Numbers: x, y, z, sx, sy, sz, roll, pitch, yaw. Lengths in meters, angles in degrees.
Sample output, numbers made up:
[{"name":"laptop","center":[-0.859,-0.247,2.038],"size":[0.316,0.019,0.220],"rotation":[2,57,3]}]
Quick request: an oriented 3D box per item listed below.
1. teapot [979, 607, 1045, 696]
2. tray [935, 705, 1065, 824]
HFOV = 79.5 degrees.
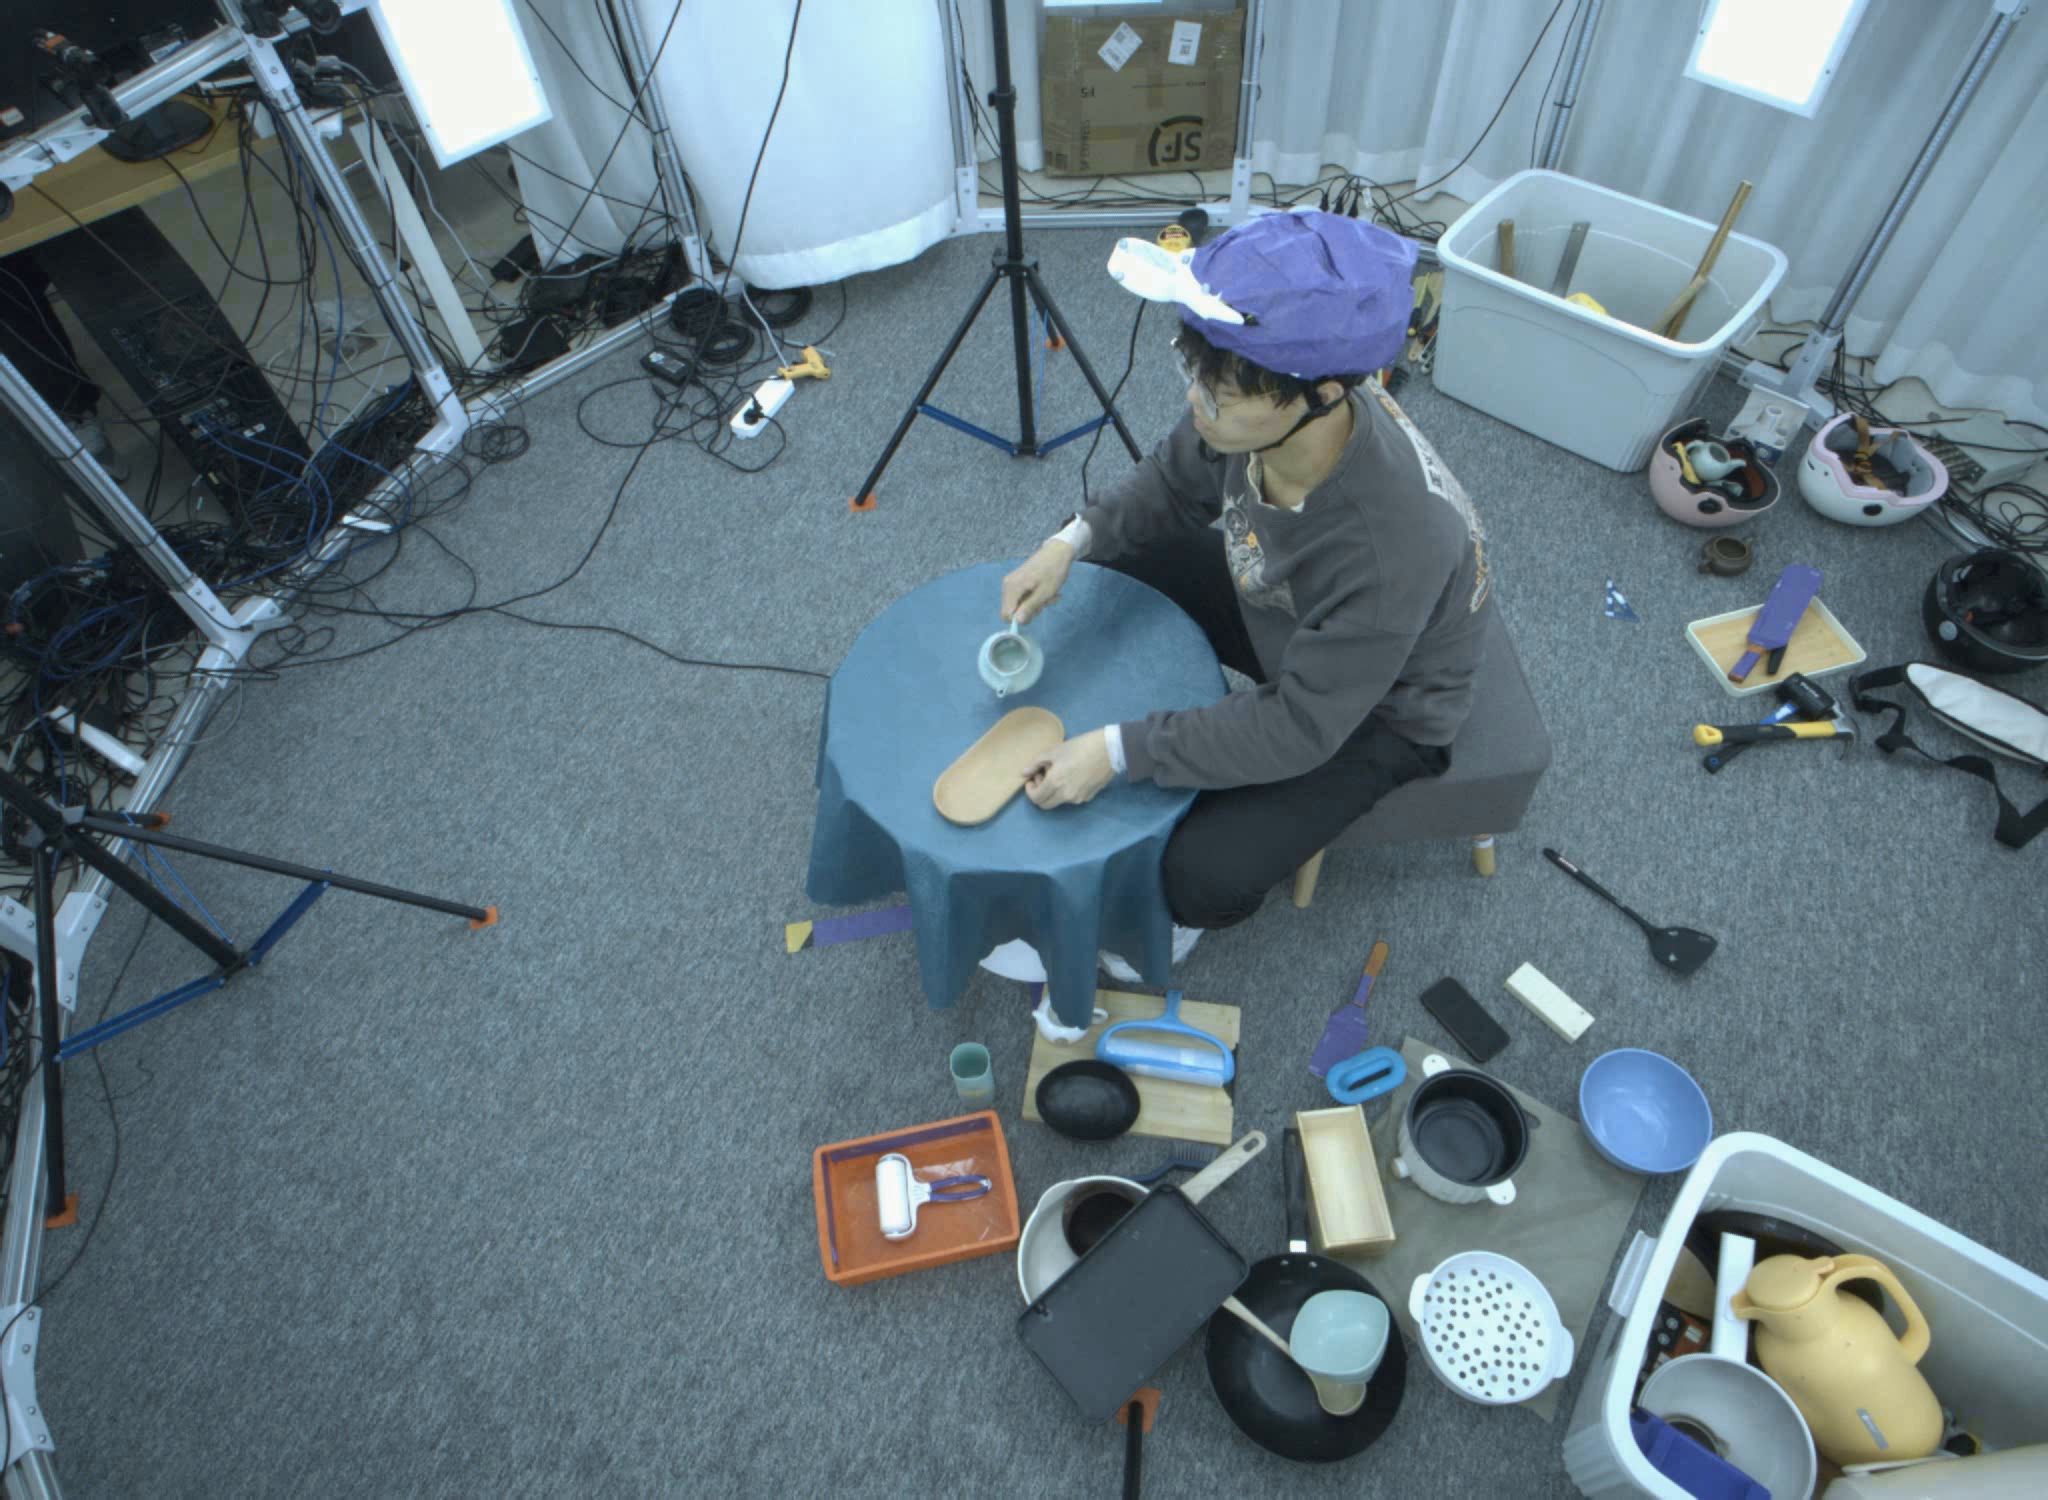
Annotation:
[{"name":"teapot","center":[-0.019,-0.138,1.776],"size":[0.096,0.062,0.136],"rotation":[7,81,7]},{"name":"tray","center":[-0.033,0.020,1.761],"size":[0.100,0.020,0.232],"rotation":[34,61,23]}]
